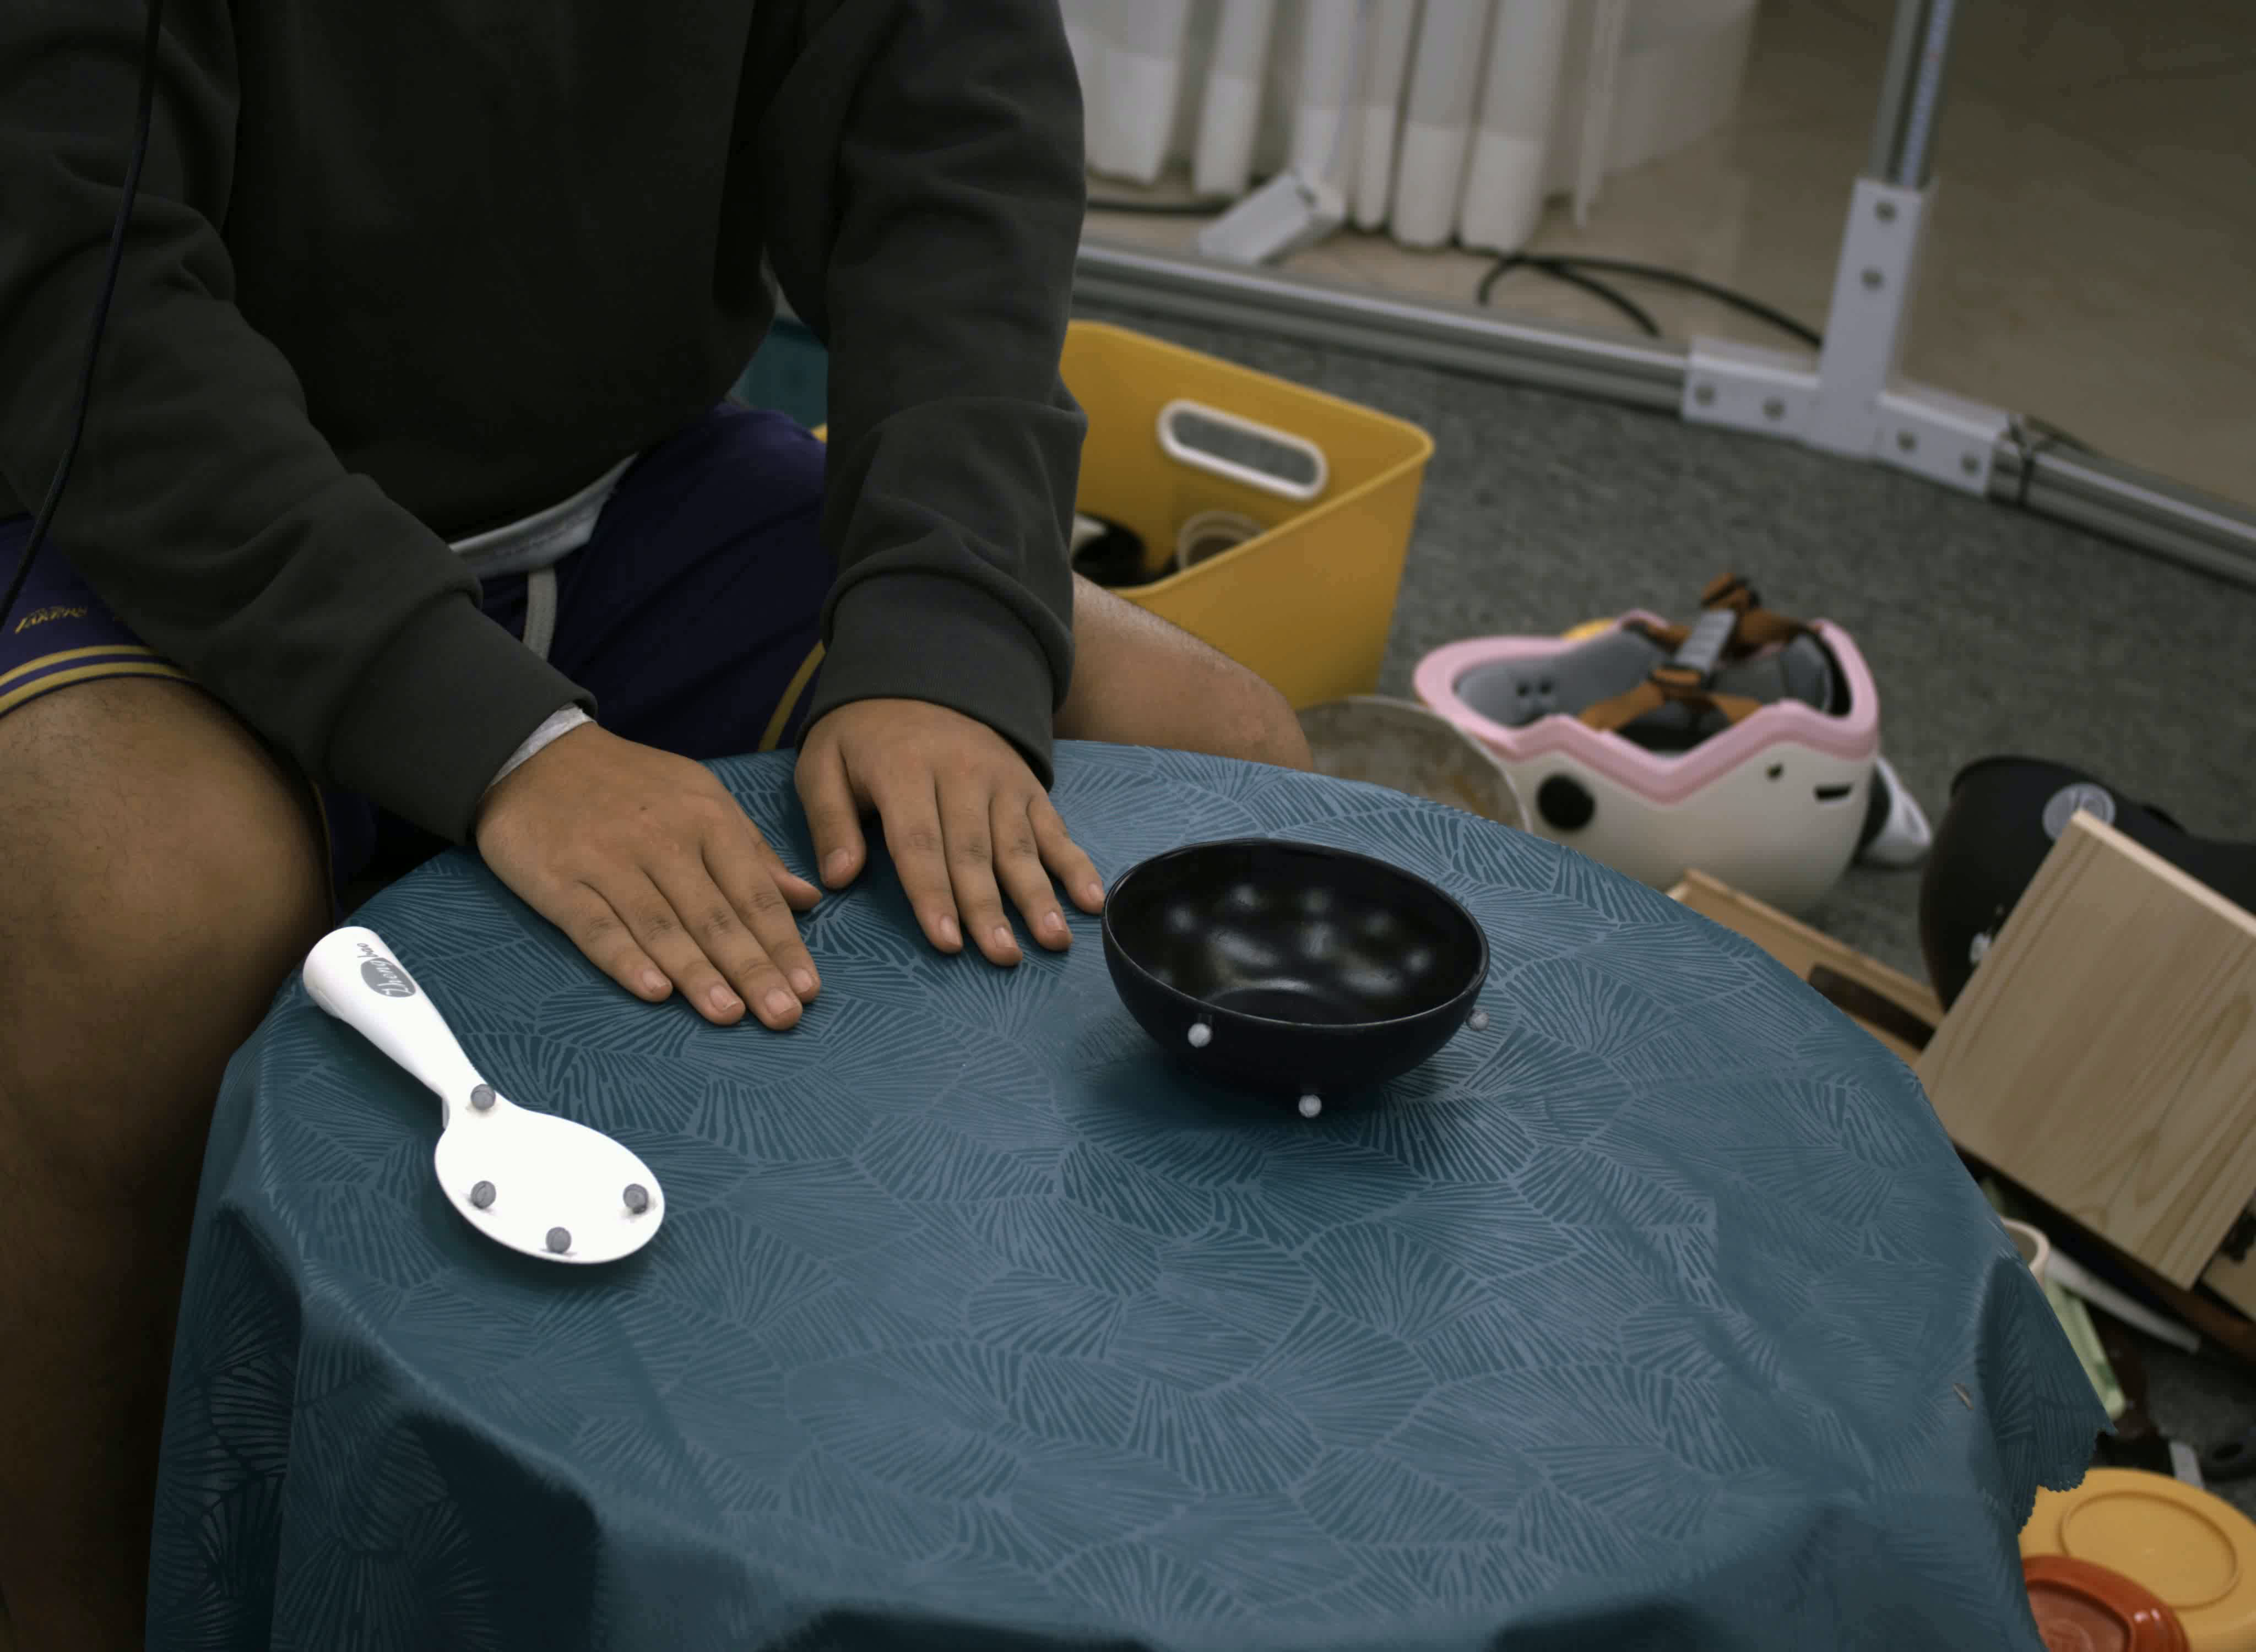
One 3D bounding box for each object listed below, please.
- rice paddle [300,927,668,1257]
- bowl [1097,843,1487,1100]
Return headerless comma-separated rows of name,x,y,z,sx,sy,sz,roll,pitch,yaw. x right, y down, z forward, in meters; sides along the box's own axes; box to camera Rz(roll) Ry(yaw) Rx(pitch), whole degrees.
rice paddle,-0.219,0.091,1.783,0.068,0.029,0.207,-13,32,-31
bowl,0.056,0.059,1.890,0.139,0.049,0.141,4,26,-2
